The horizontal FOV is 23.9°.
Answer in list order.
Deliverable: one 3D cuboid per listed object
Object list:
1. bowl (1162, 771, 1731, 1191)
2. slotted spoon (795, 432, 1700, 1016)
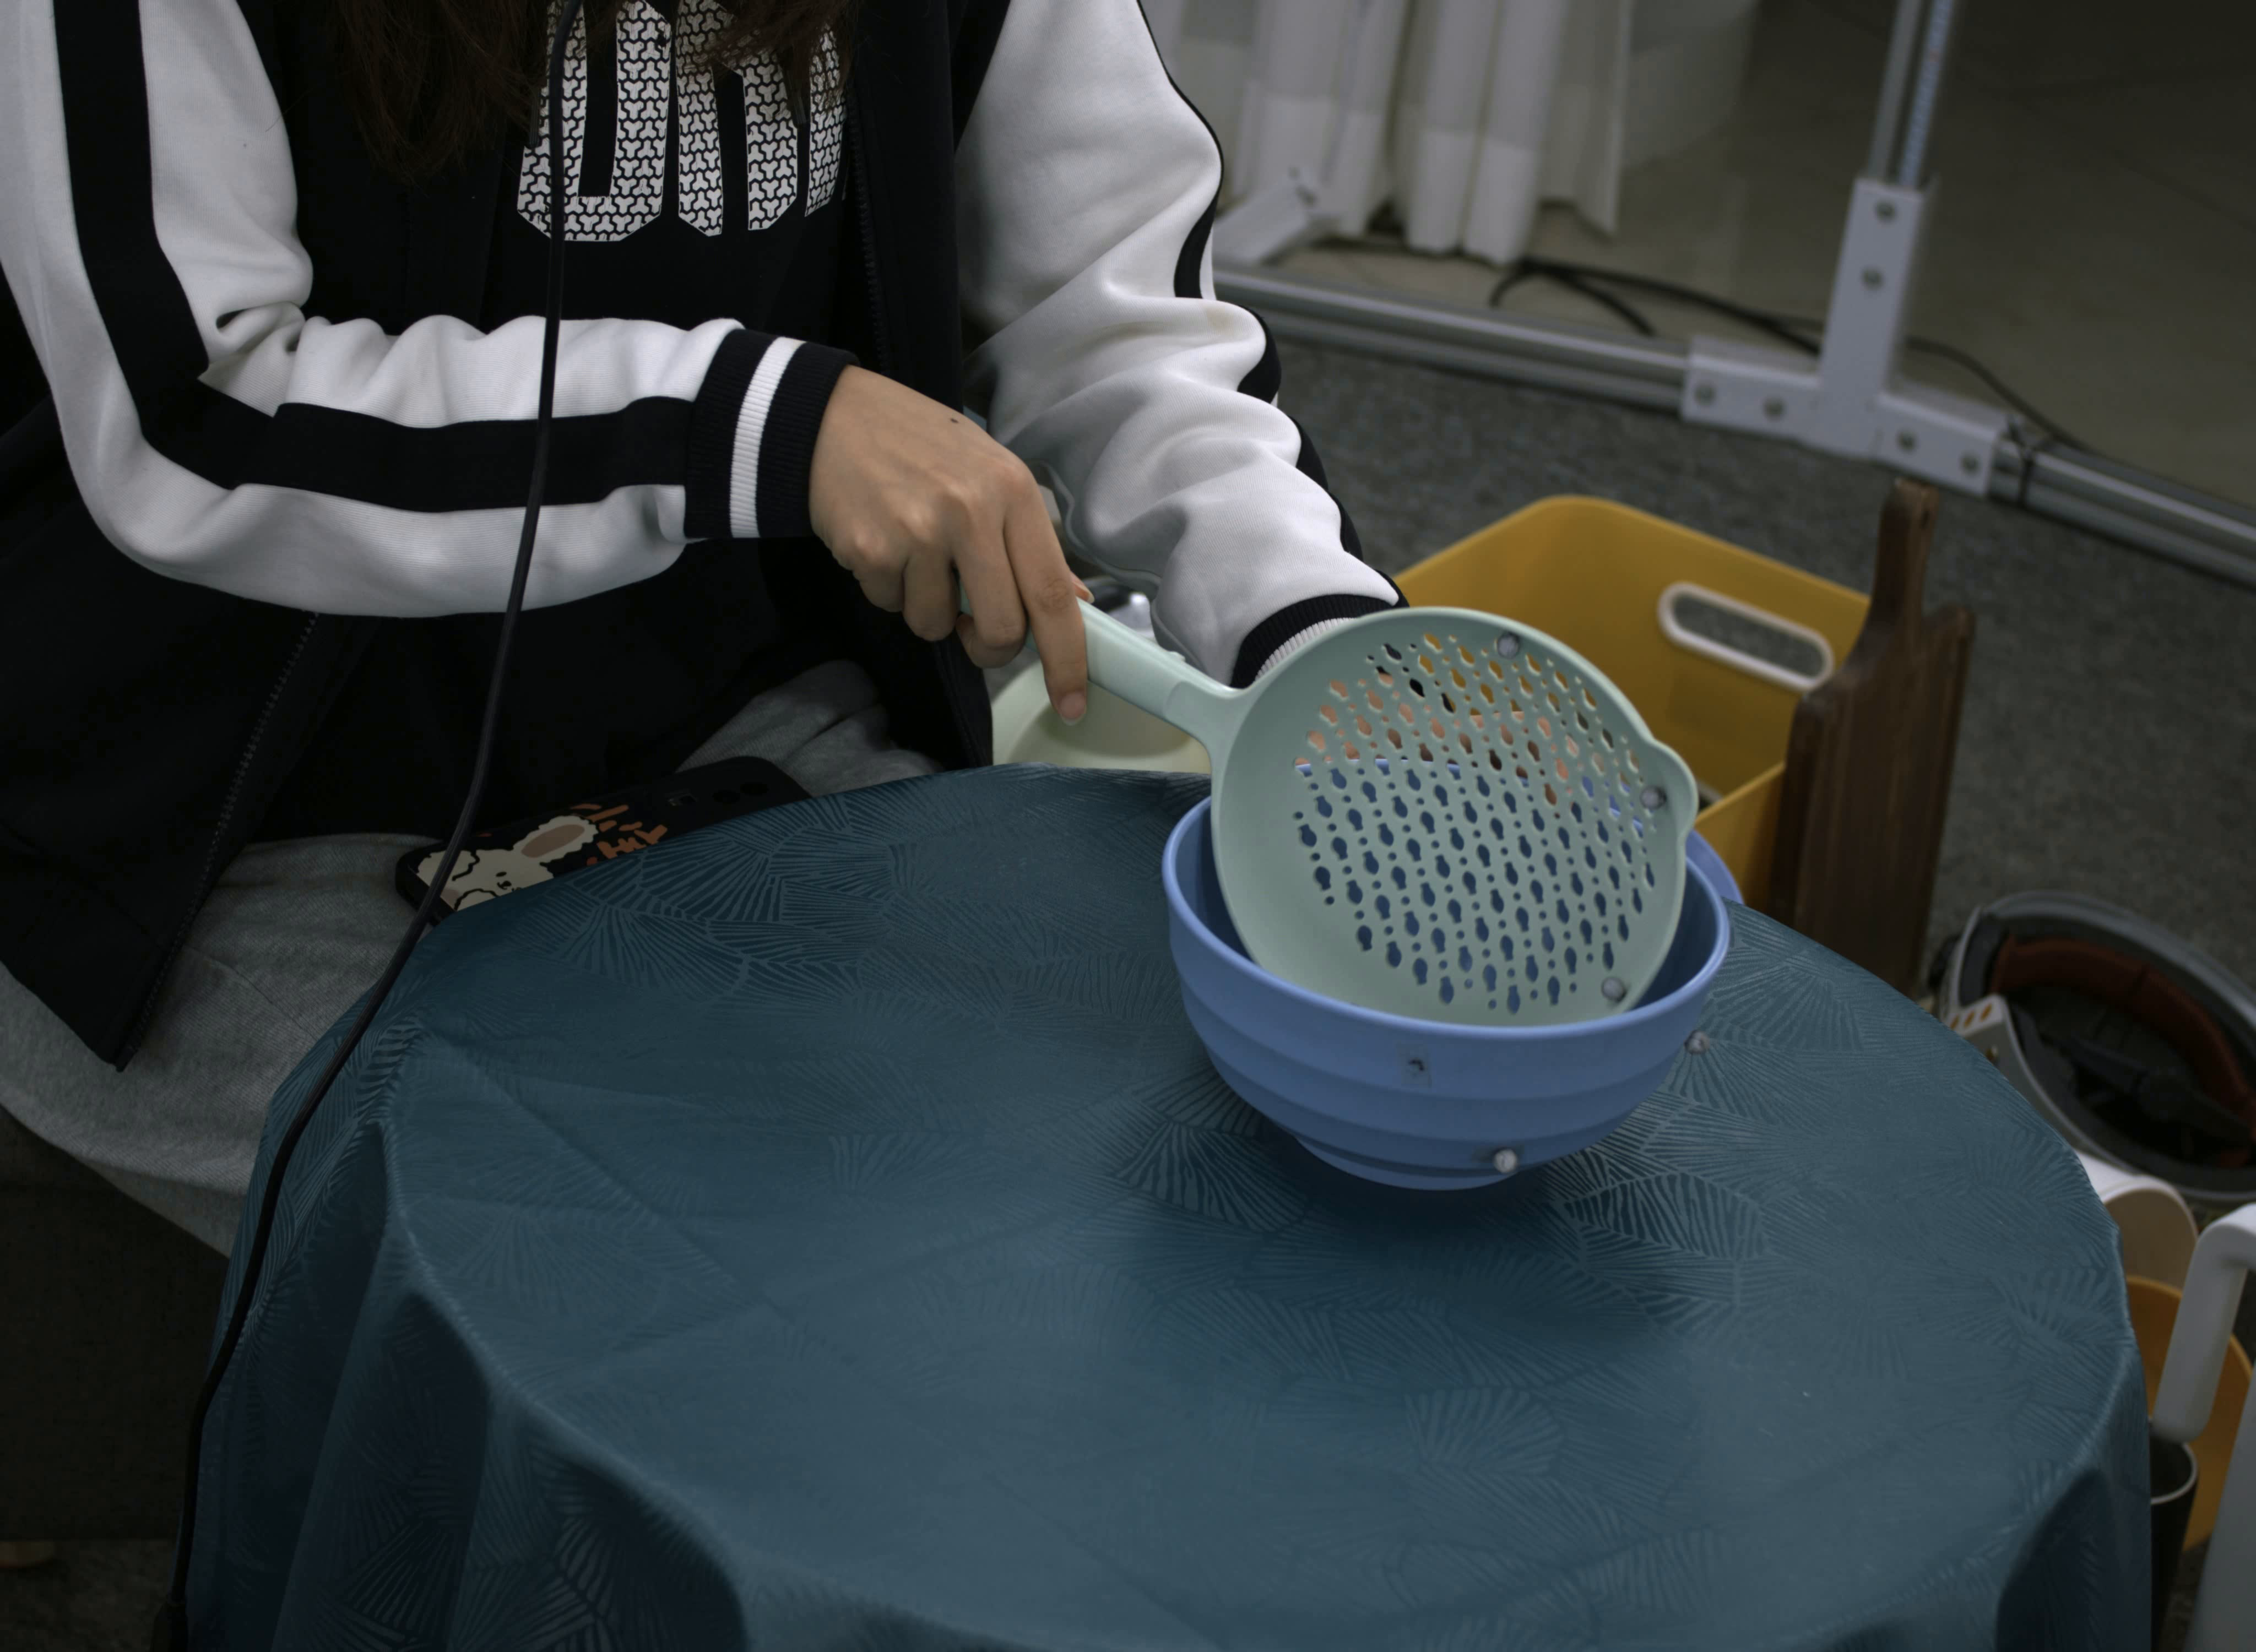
[{"bbox_3d":[0.104,0.063,1.840,0.196,0.095,0.198,5,27,-3],"label":"bowl"},{"bbox_3d":[0.031,-0.045,1.857,0.359,0.169,0.075,27,22,6],"label":"slotted spoon"}]
